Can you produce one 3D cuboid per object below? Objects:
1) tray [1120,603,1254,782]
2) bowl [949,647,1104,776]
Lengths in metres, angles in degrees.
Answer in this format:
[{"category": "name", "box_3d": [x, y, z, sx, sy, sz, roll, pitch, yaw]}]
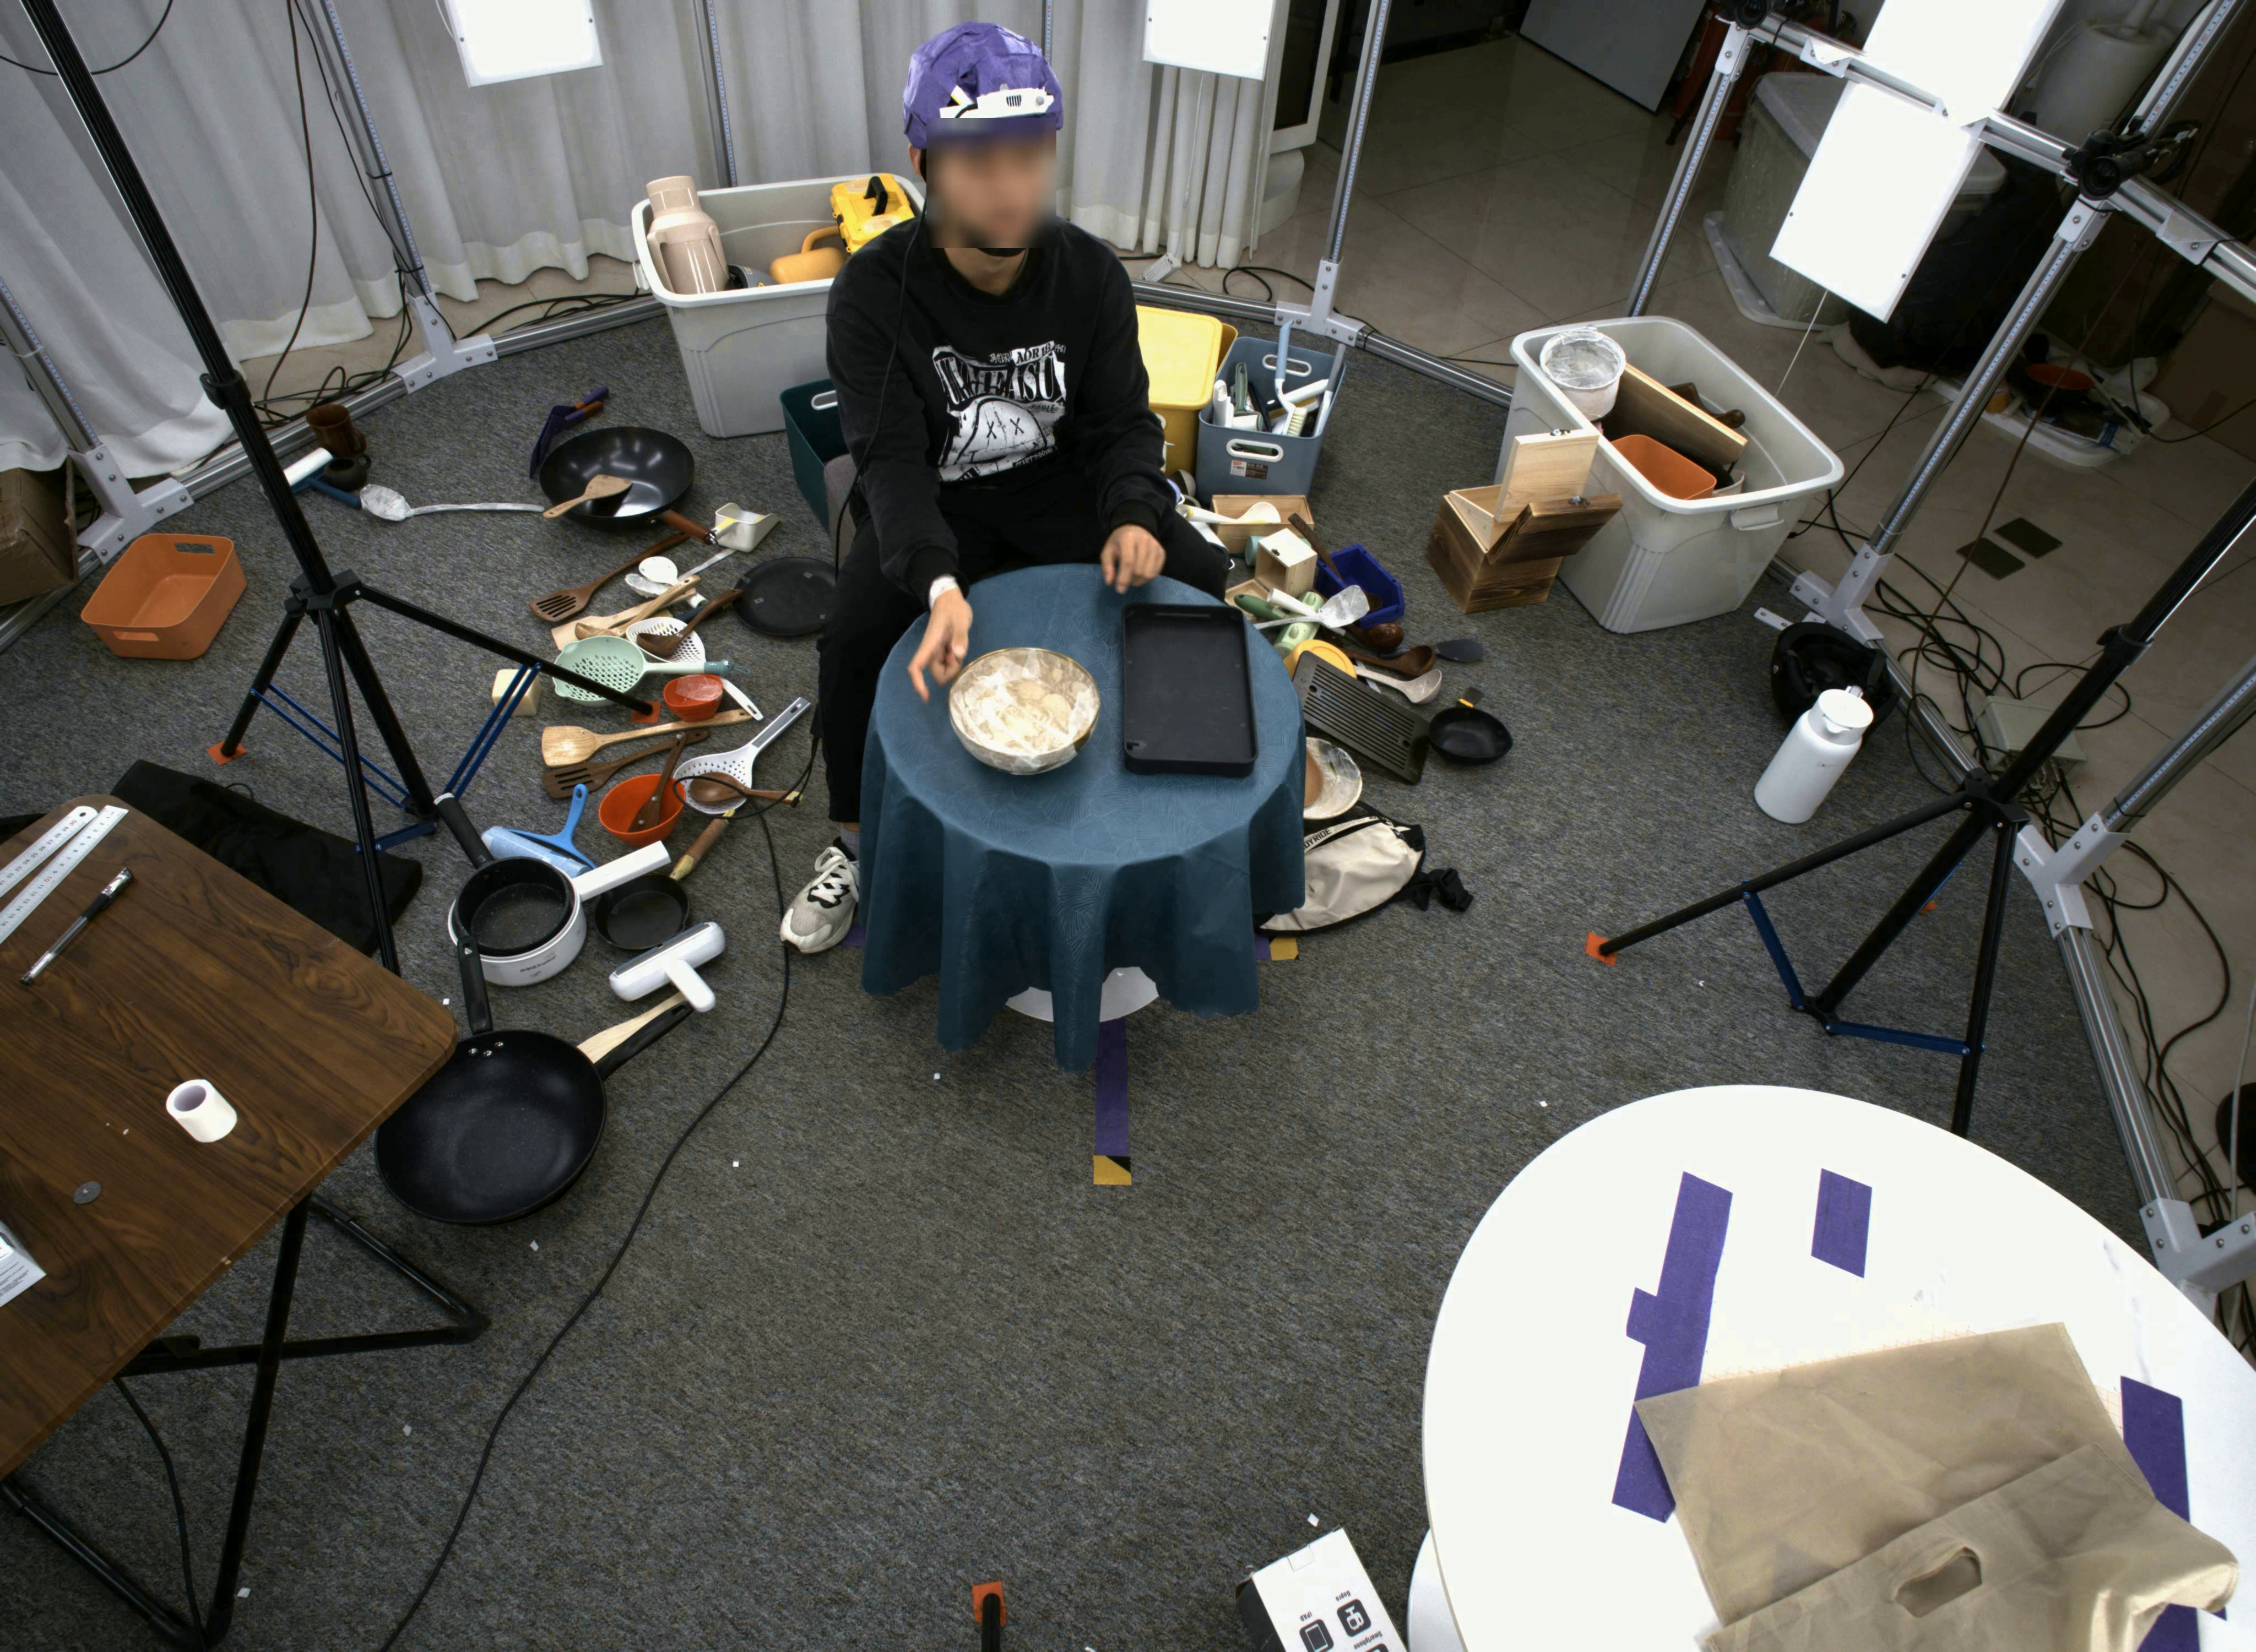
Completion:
[{"category": "tray", "box_3d": [0.083, -0.197, 1.841, 0.184, 0.036, 0.326, 4, 50, -2]}, {"category": "bowl", "box_3d": [-0.136, -0.141, 1.738, 0.214, 0.092, 0.220, 1, 49, -2]}]
